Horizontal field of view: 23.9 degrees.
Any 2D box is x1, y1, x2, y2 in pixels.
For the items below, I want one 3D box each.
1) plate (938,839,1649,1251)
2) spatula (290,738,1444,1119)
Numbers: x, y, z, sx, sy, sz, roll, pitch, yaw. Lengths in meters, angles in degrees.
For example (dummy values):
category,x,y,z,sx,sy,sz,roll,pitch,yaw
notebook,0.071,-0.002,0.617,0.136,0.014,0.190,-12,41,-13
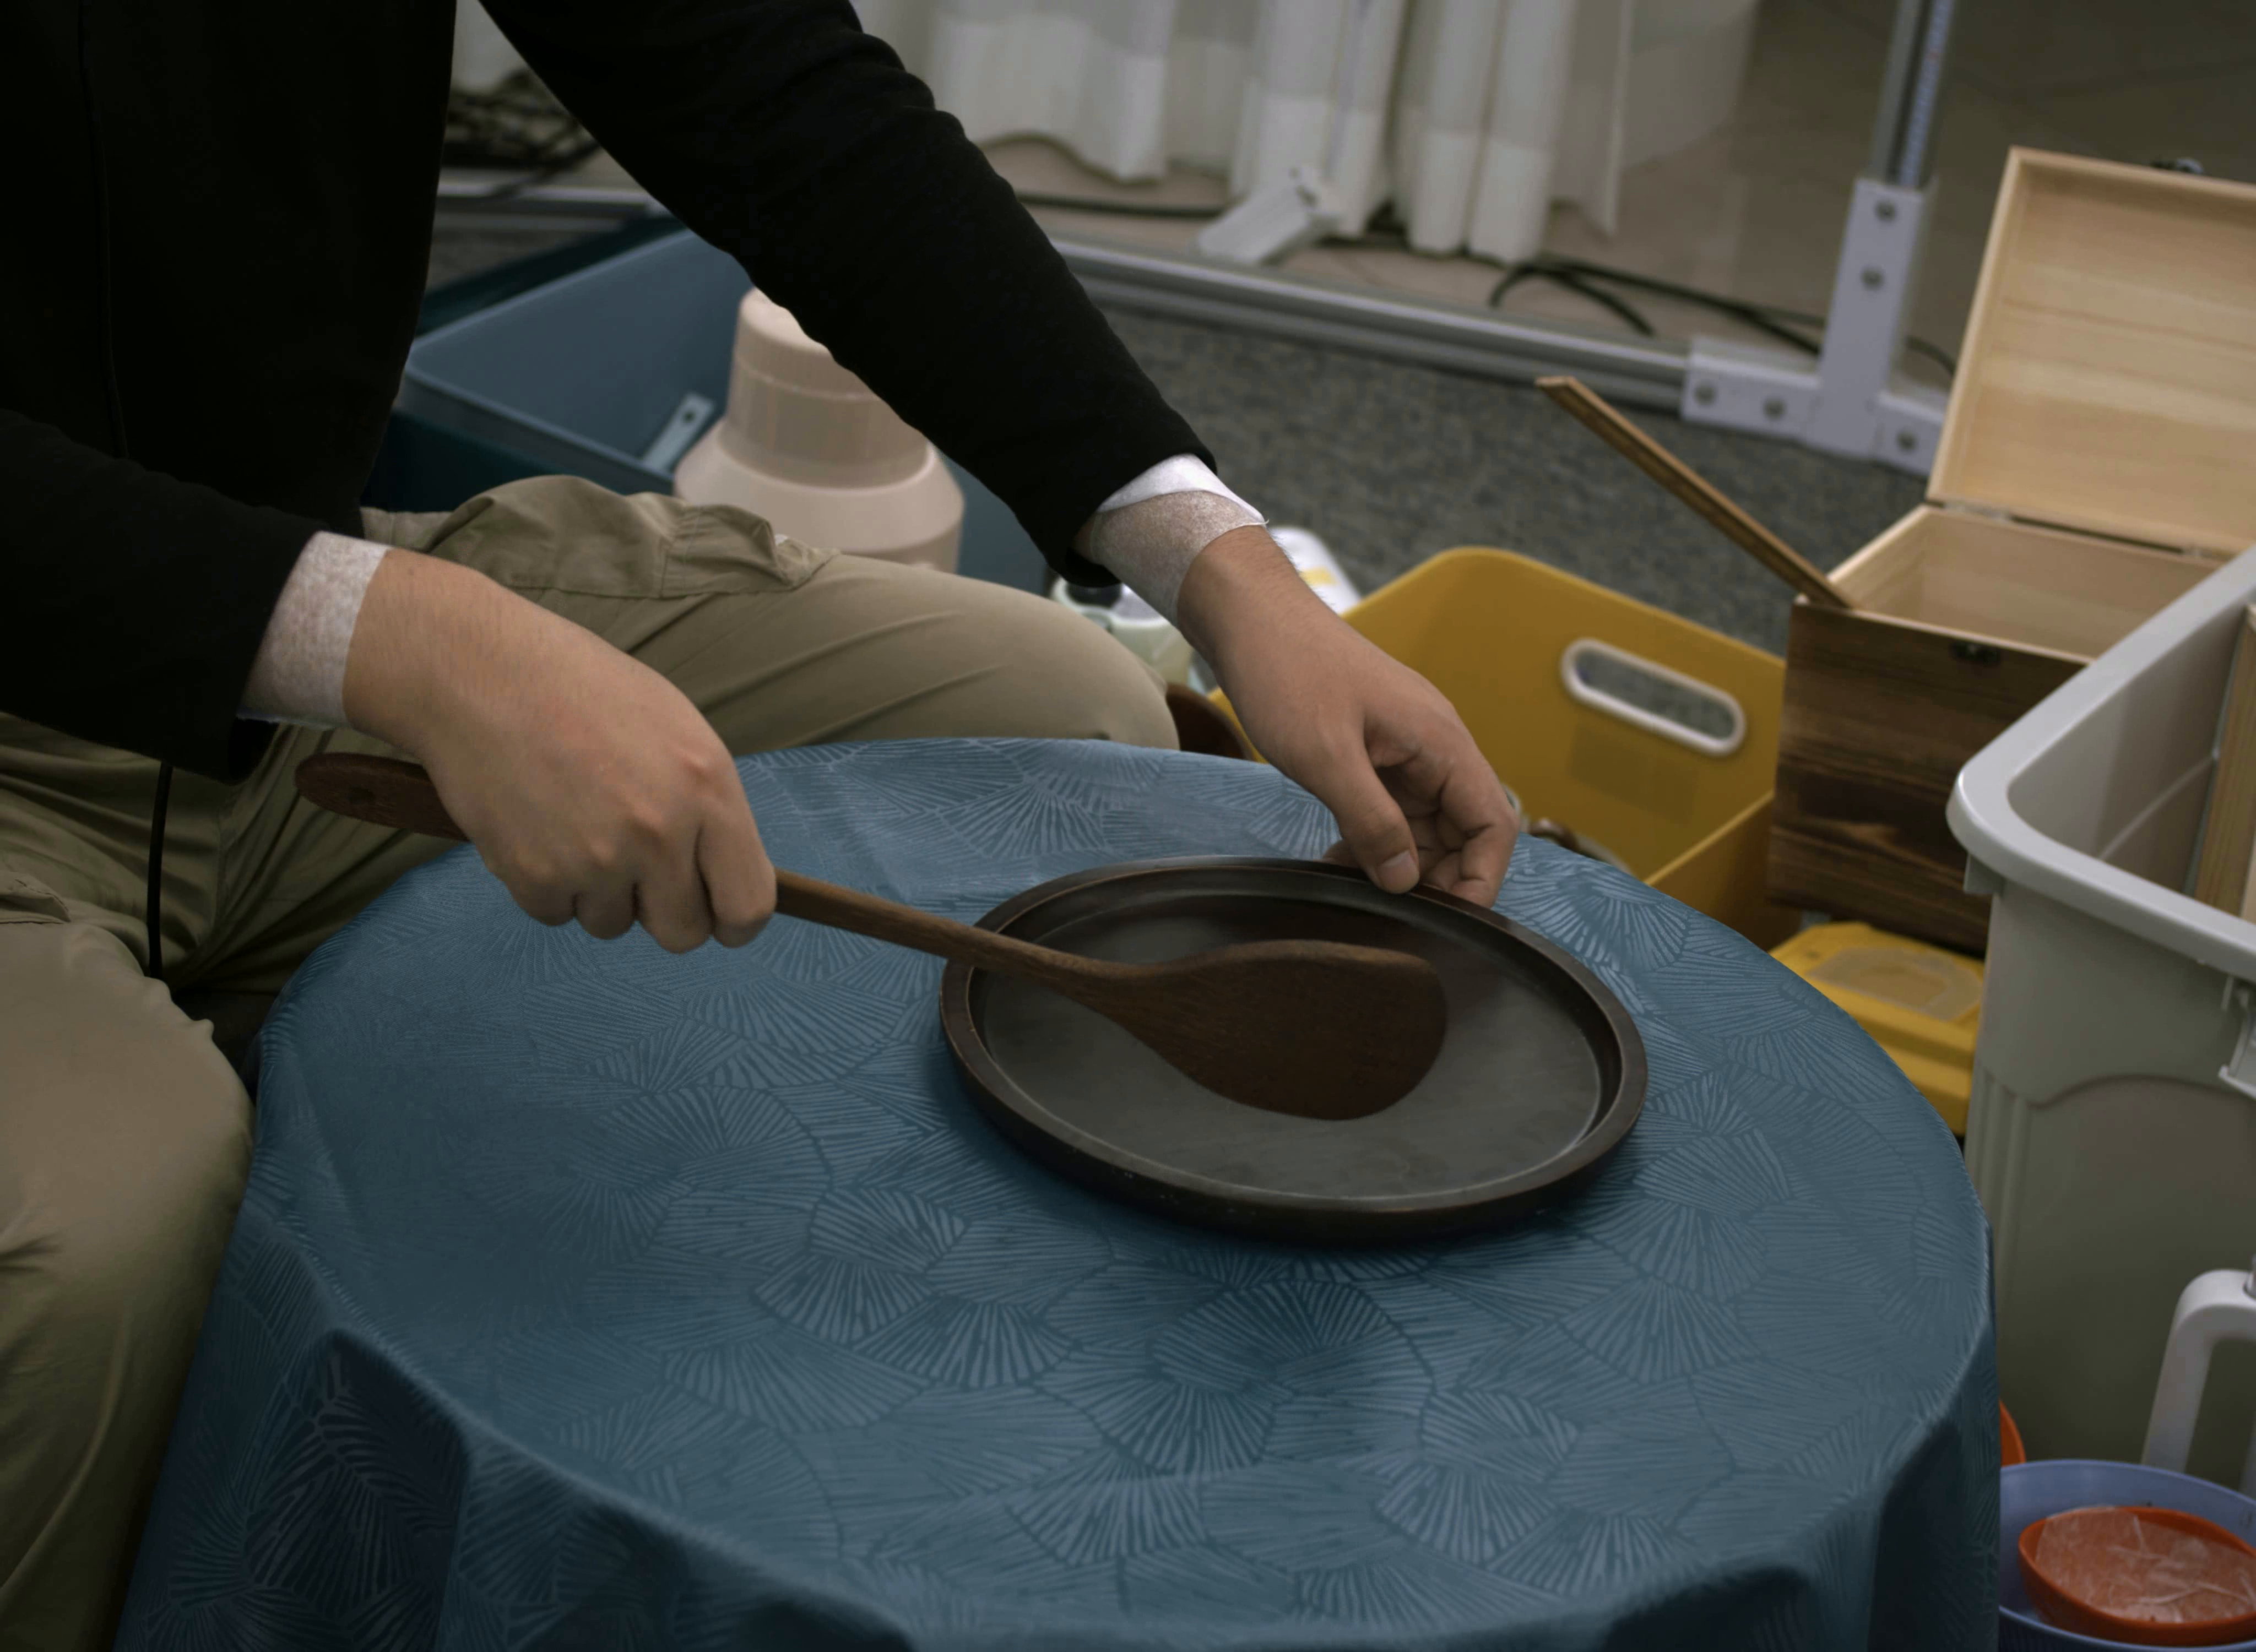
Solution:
category,x,y,z,sx,sy,sz,roll,pitch,yaw
plate,0.058,0.078,1.877,0.254,0.029,0.256,4,28,-2
spatula,-0.085,0.027,1.739,0.384,0.096,0.016,15,50,-5
